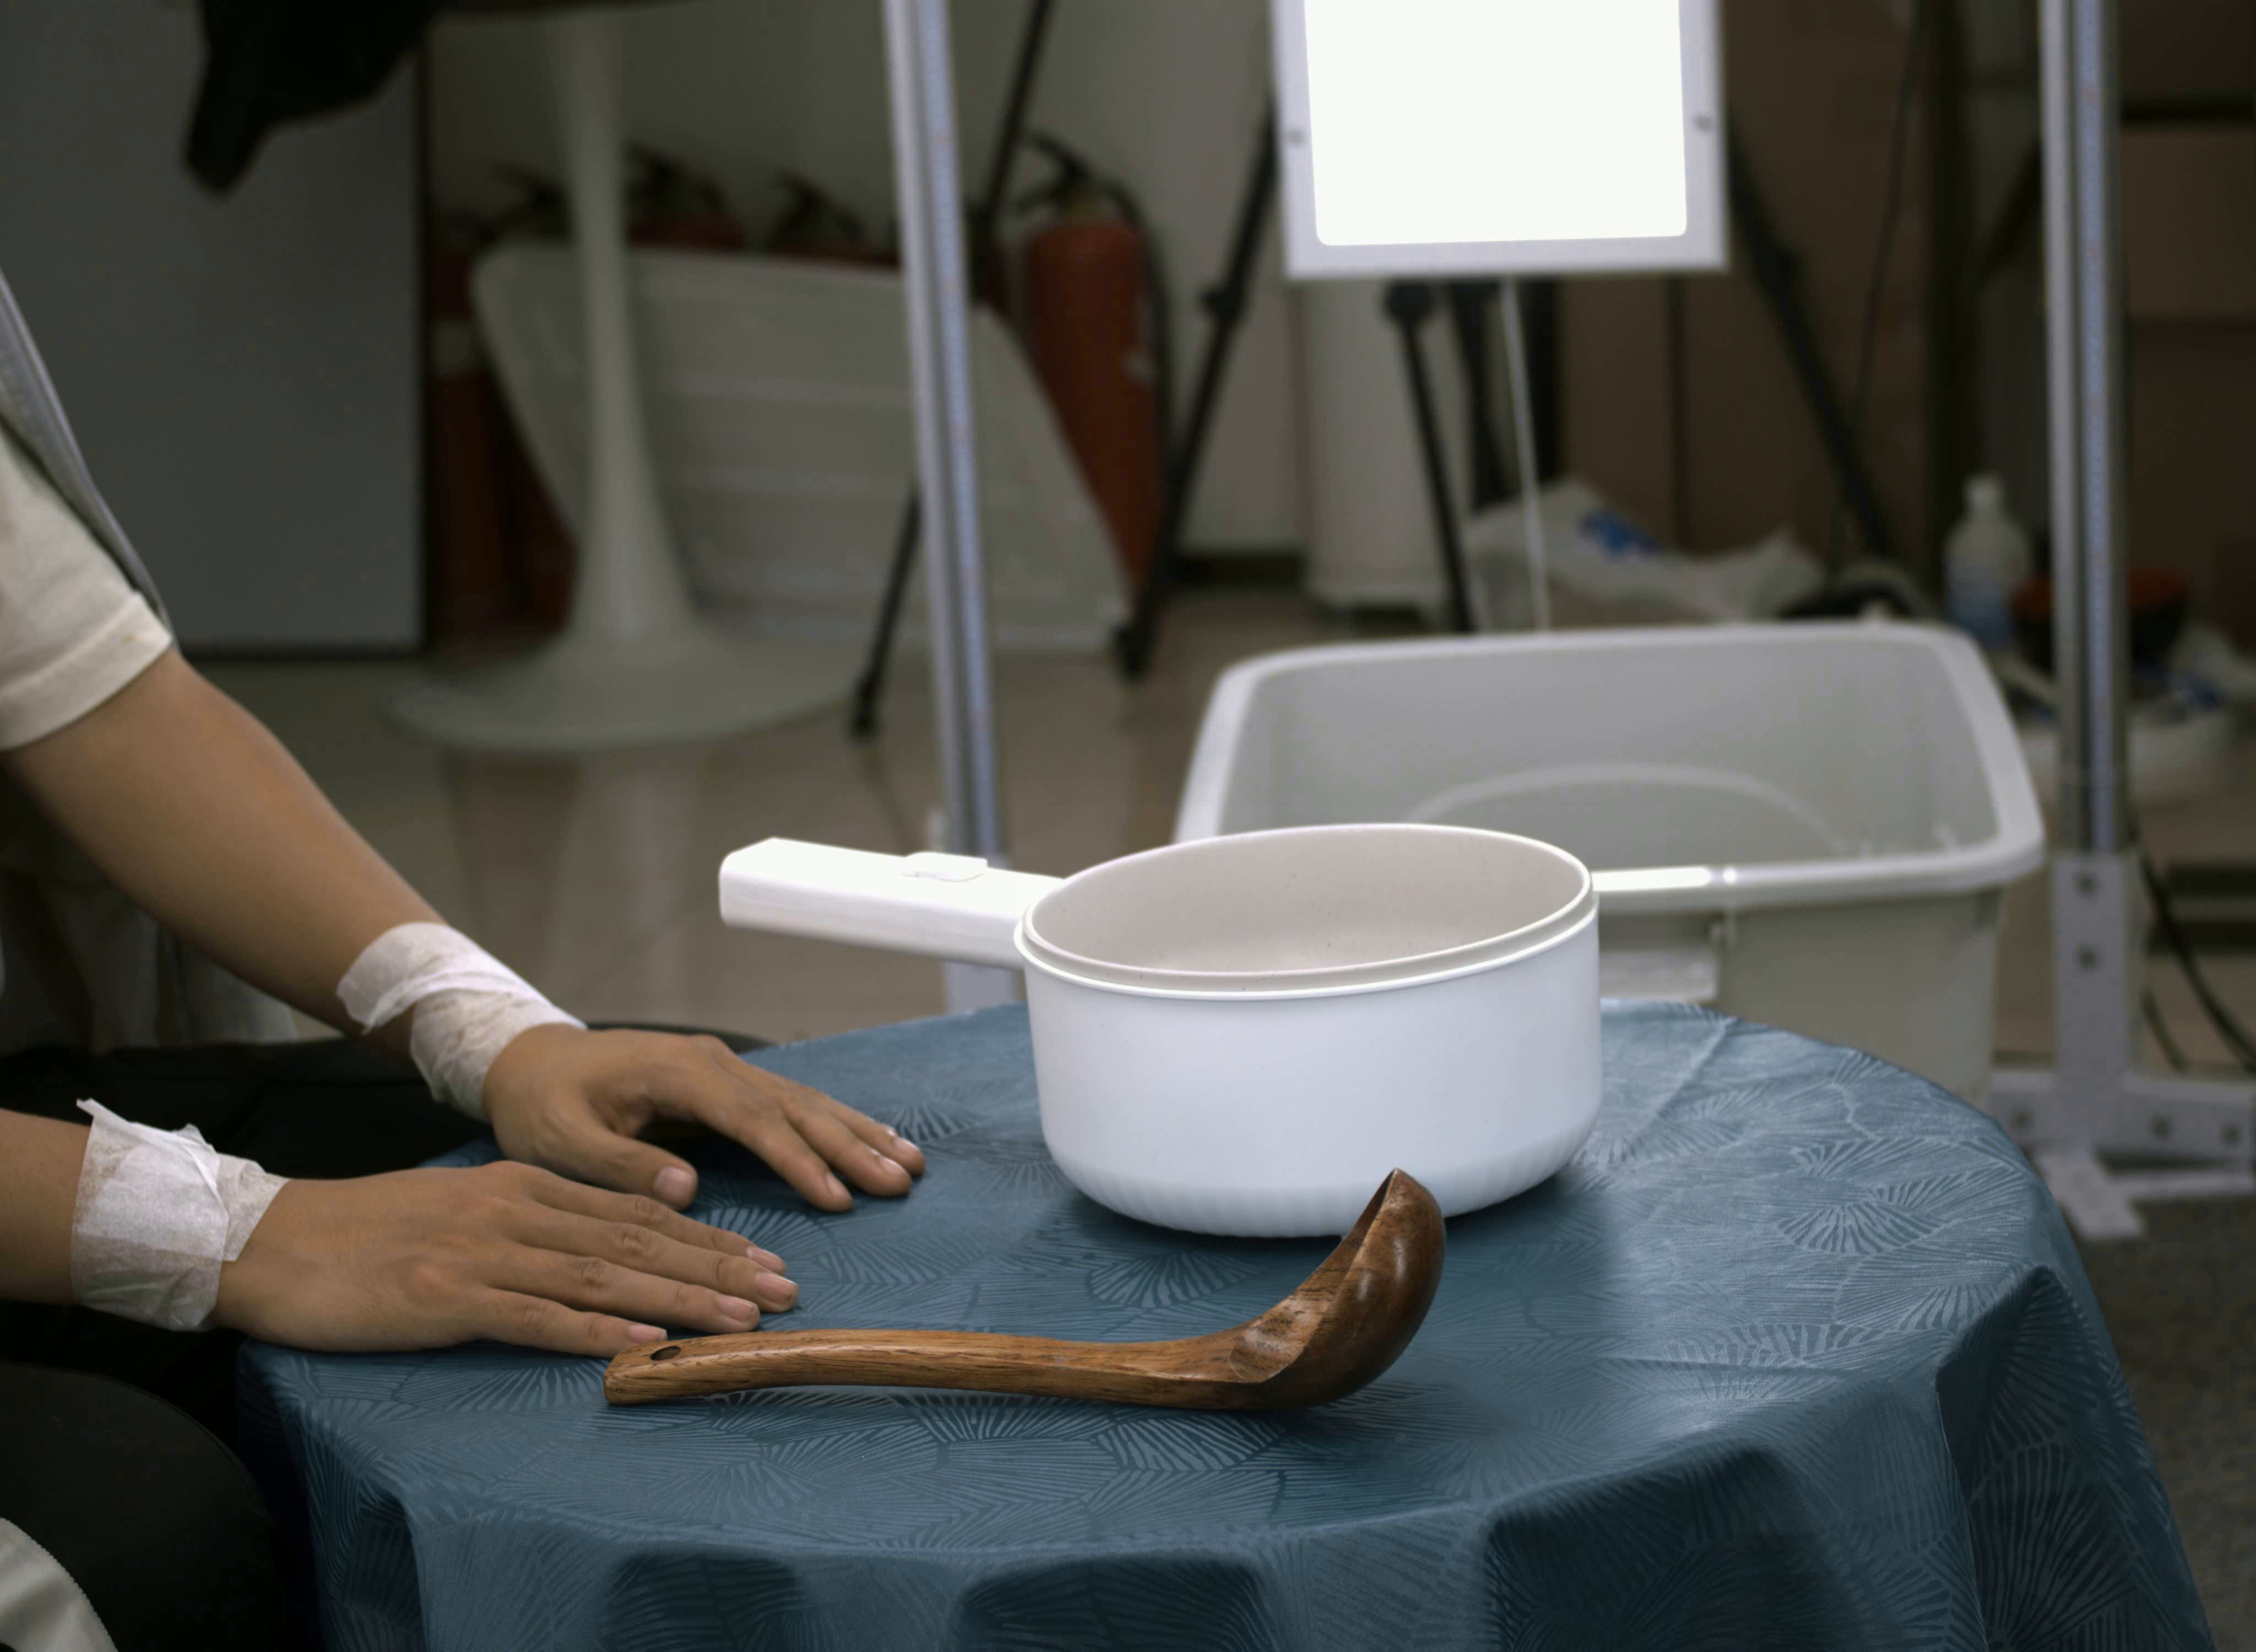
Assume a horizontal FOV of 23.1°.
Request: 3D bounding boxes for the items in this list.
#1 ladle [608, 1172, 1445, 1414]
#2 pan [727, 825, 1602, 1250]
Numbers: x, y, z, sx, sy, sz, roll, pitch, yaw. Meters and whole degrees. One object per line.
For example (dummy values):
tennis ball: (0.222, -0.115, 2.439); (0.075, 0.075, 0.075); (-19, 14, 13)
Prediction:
ladle: (-0.036, 0.140, 1.687); (0.277, 0.077, 0.080); (1, 17, 20)
pan: (0.004, 0.068, 1.932); (0.362, 0.102, 0.196); (5, 18, 39)
